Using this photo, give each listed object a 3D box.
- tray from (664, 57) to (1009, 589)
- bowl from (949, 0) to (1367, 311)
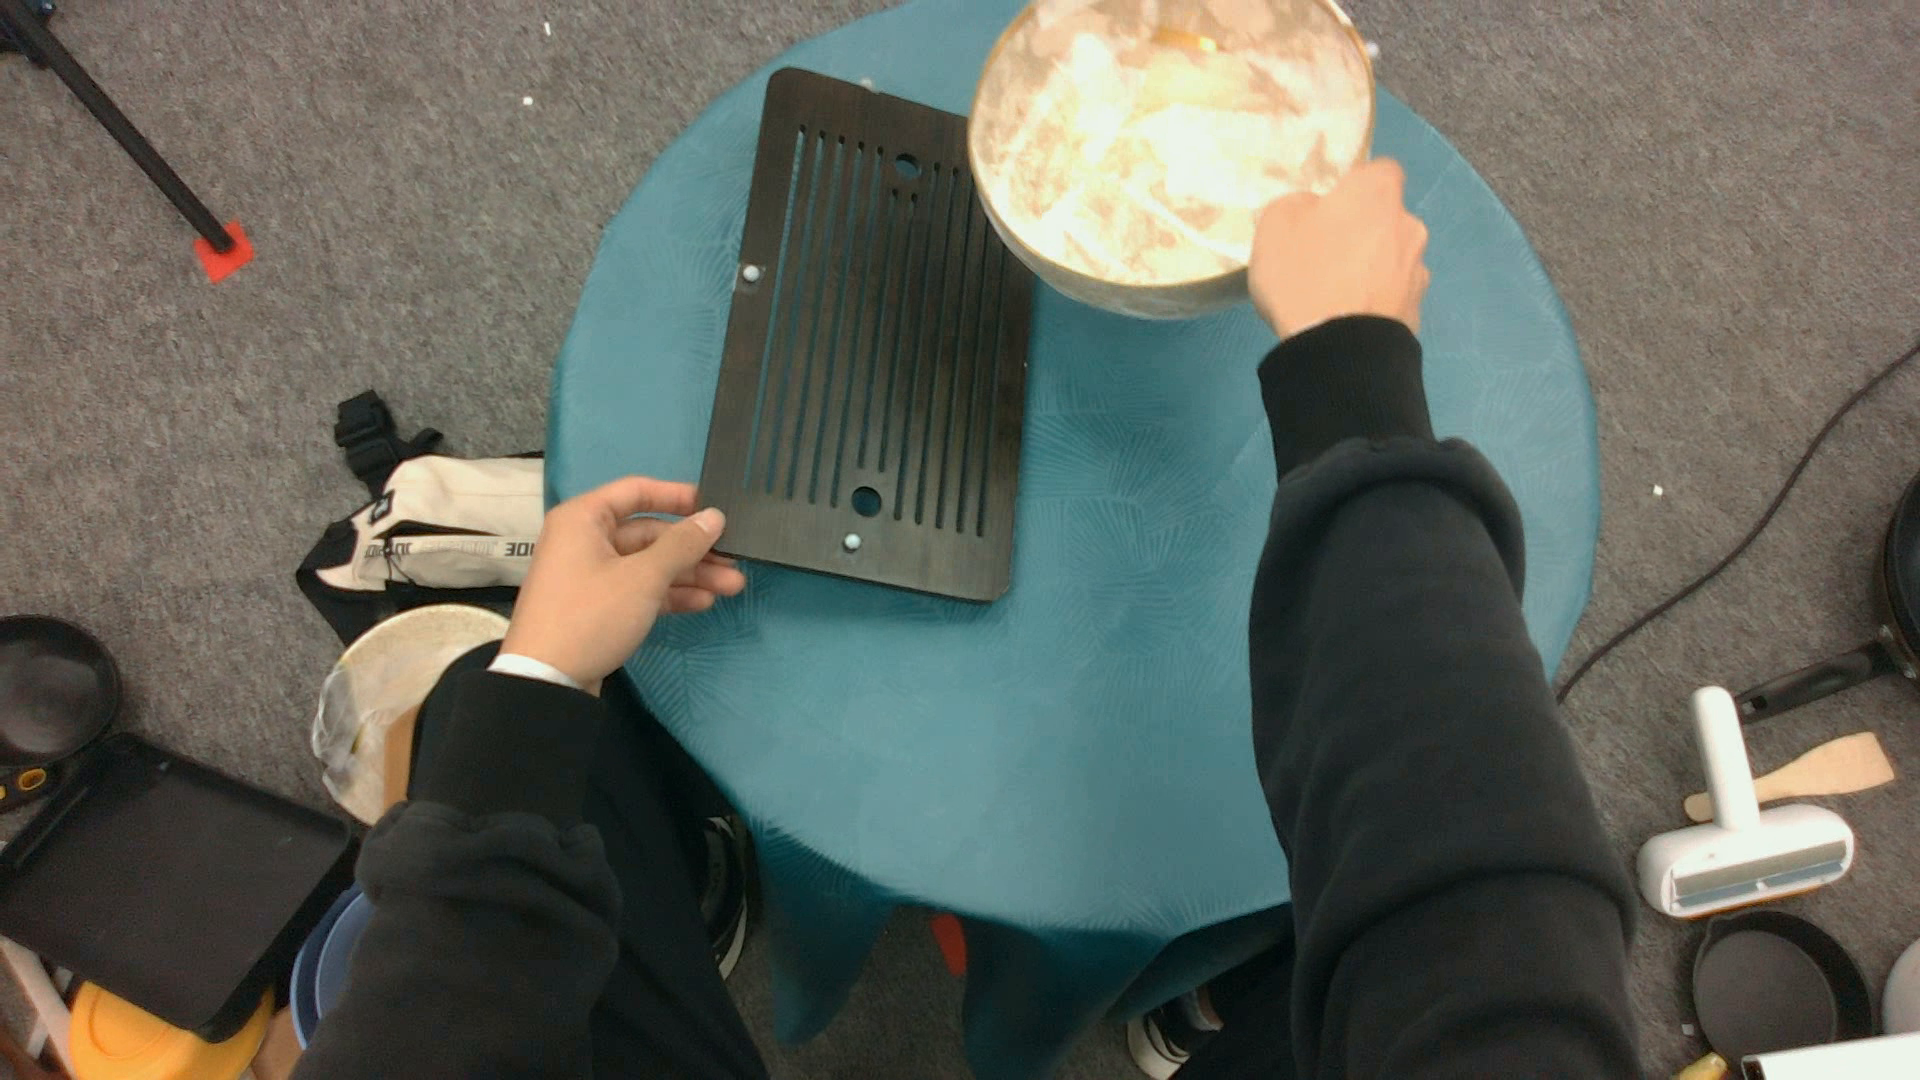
[{"bbox_3d":[-0.059,-0.127,0.769,0.170,0.018,0.307,11,66,-15],"label":"tray"},{"bbox_3d":[0.101,-0.198,0.729,0.214,0.094,0.215,-3,68,7],"label":"bowl"}]
